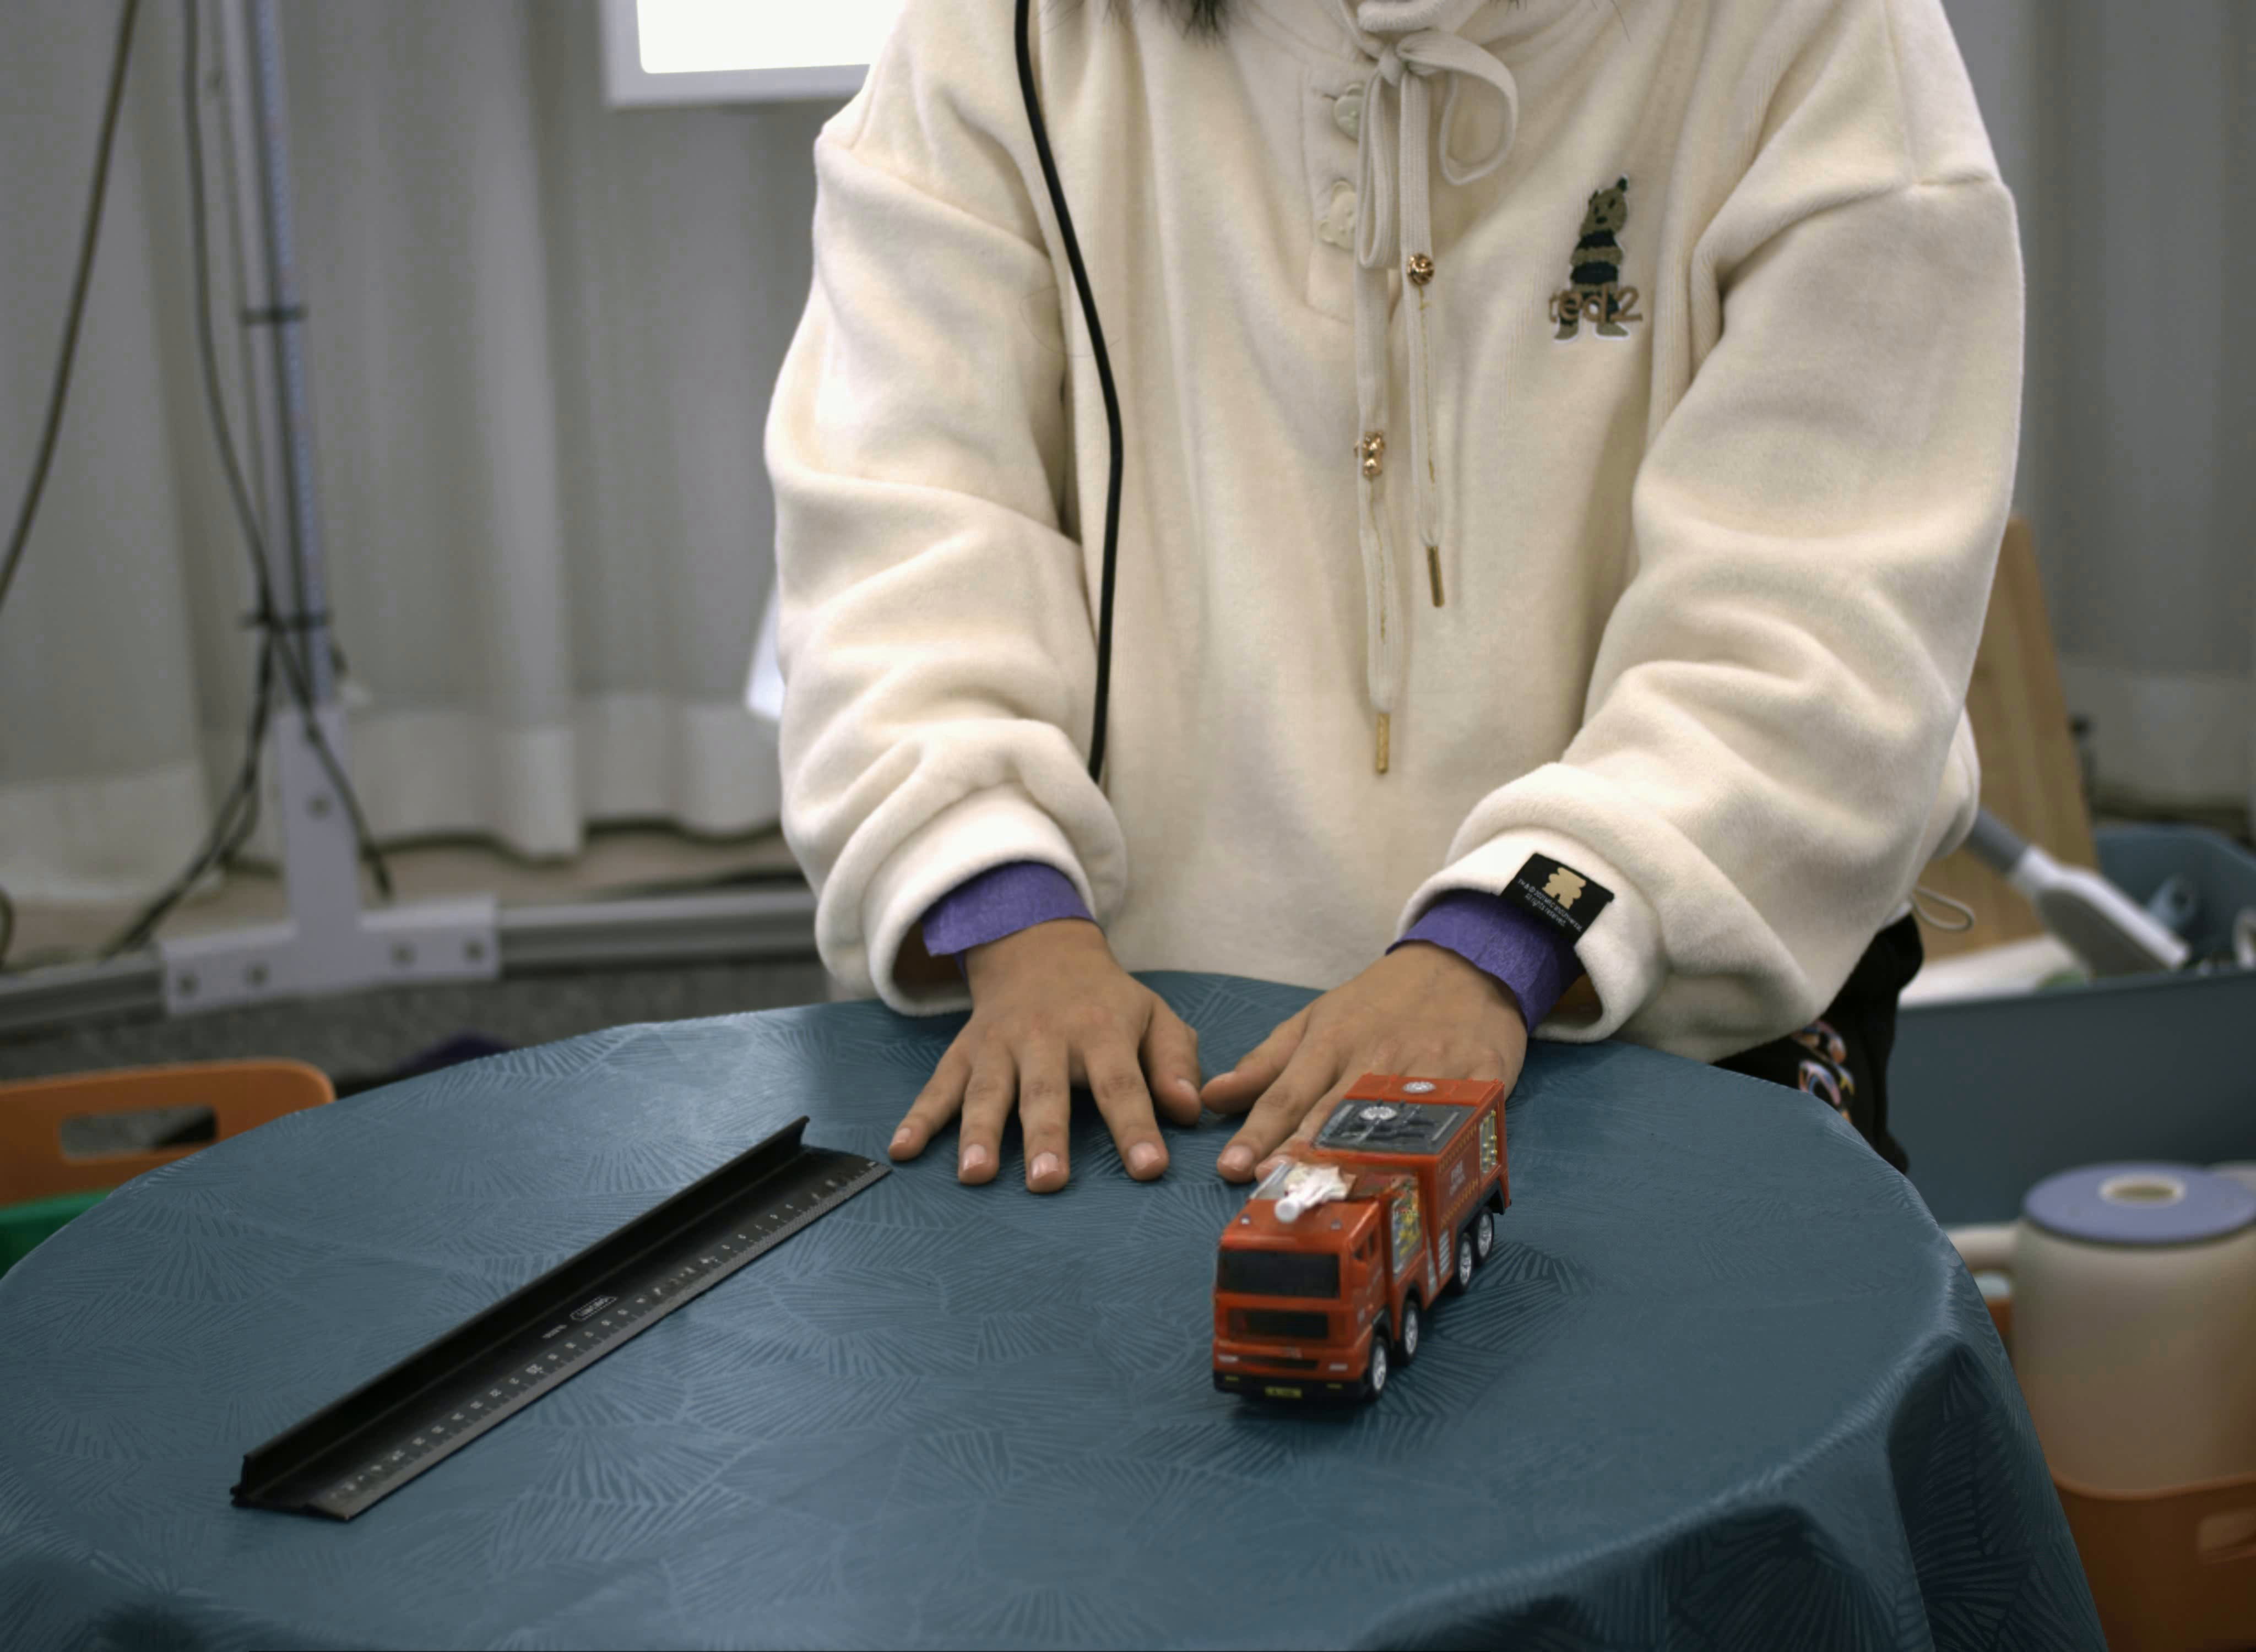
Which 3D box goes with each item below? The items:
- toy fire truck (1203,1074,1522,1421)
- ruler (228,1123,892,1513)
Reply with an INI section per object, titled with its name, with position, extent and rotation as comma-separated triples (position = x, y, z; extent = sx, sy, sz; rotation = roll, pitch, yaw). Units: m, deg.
[toy fire truck]
position = 0.069, 0.118, 1.575
extent = 0.054, 0.070, 0.168
rotation = 1, 14, 19
[ruler]
position = -0.160, 0.141, 1.616
extent = 0.039, 0.017, 0.313
rotation = 8, 18, 26
